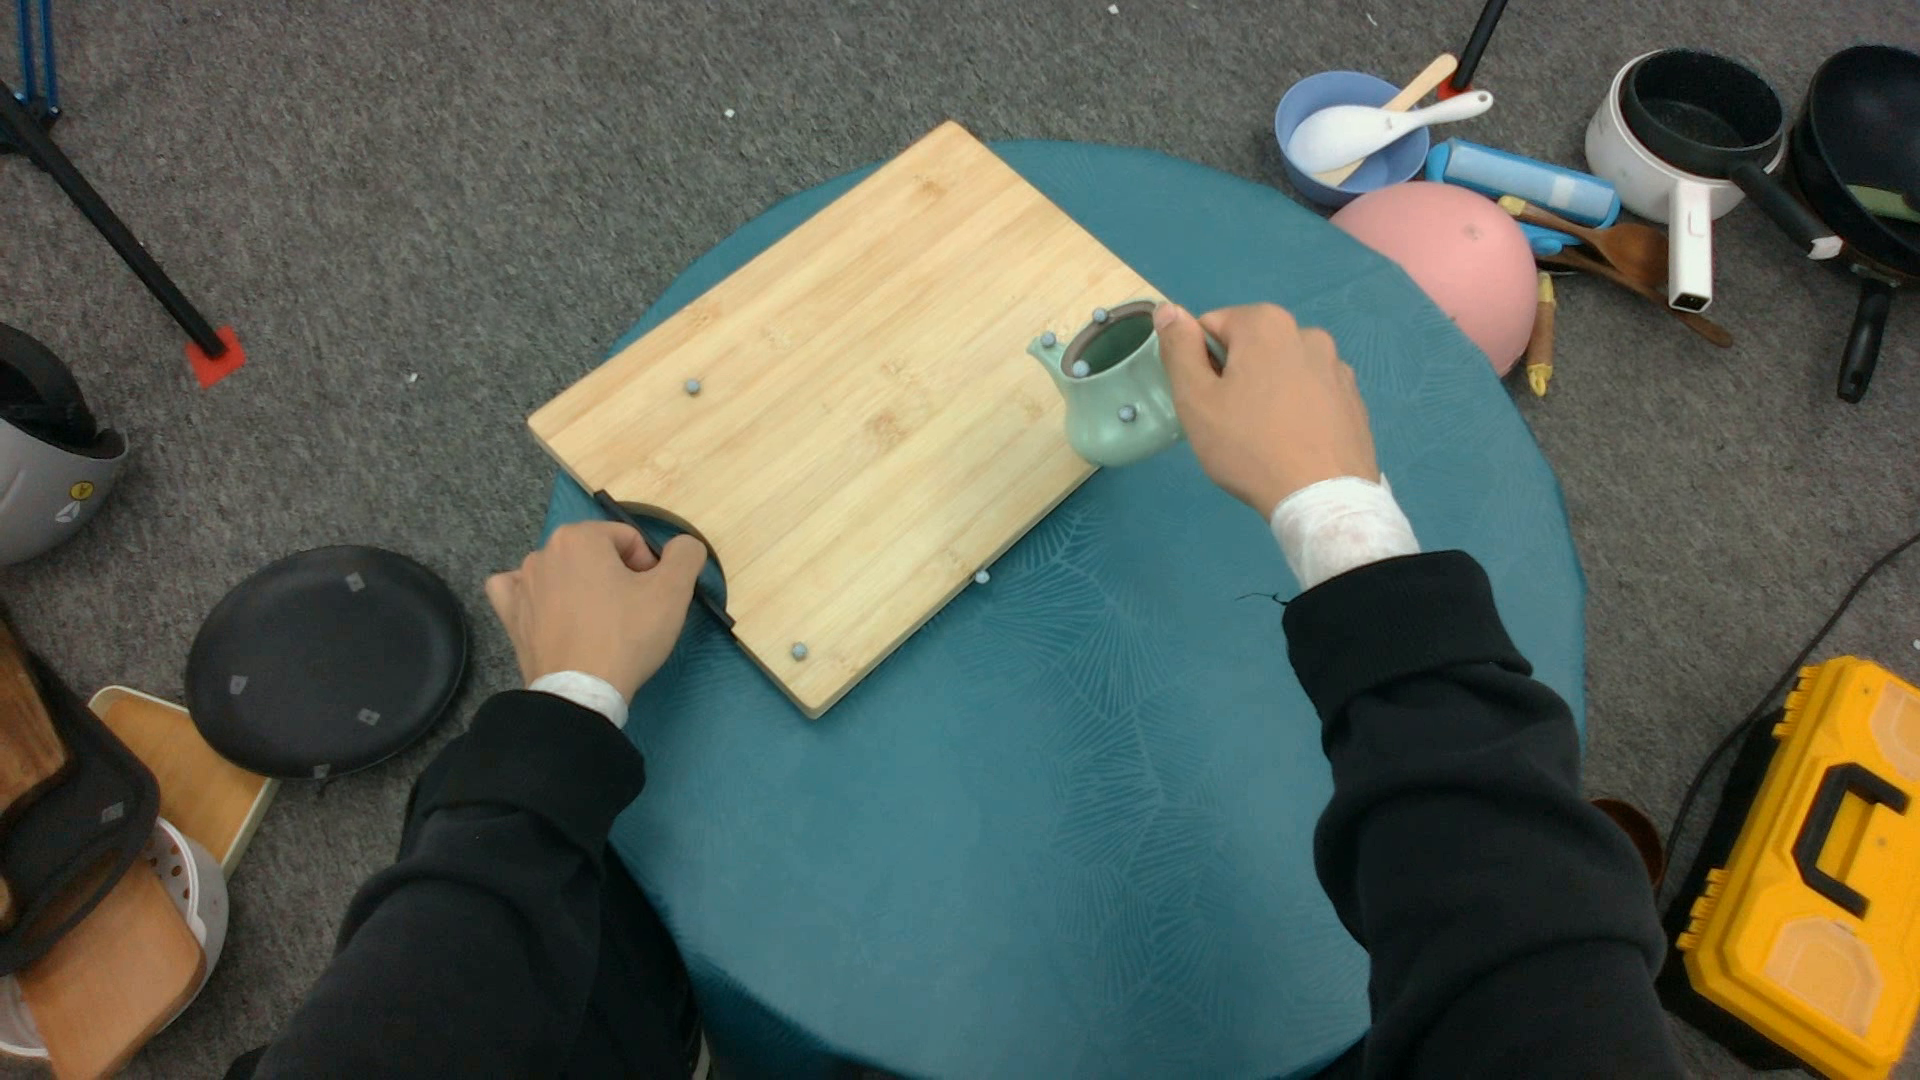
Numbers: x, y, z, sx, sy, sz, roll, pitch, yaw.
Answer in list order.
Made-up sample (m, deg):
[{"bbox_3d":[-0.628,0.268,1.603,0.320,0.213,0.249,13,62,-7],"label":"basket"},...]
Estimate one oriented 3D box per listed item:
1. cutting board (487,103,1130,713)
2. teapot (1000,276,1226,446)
[{"bbox_3d":[-0.059,-0.096,0.812,0.251,0.023,0.350,41,67,14],"label":"cutting board"},{"bbox_3d":[0.082,-0.093,0.697,0.061,0.136,0.096,50,63,-30],"label":"teapot"}]
